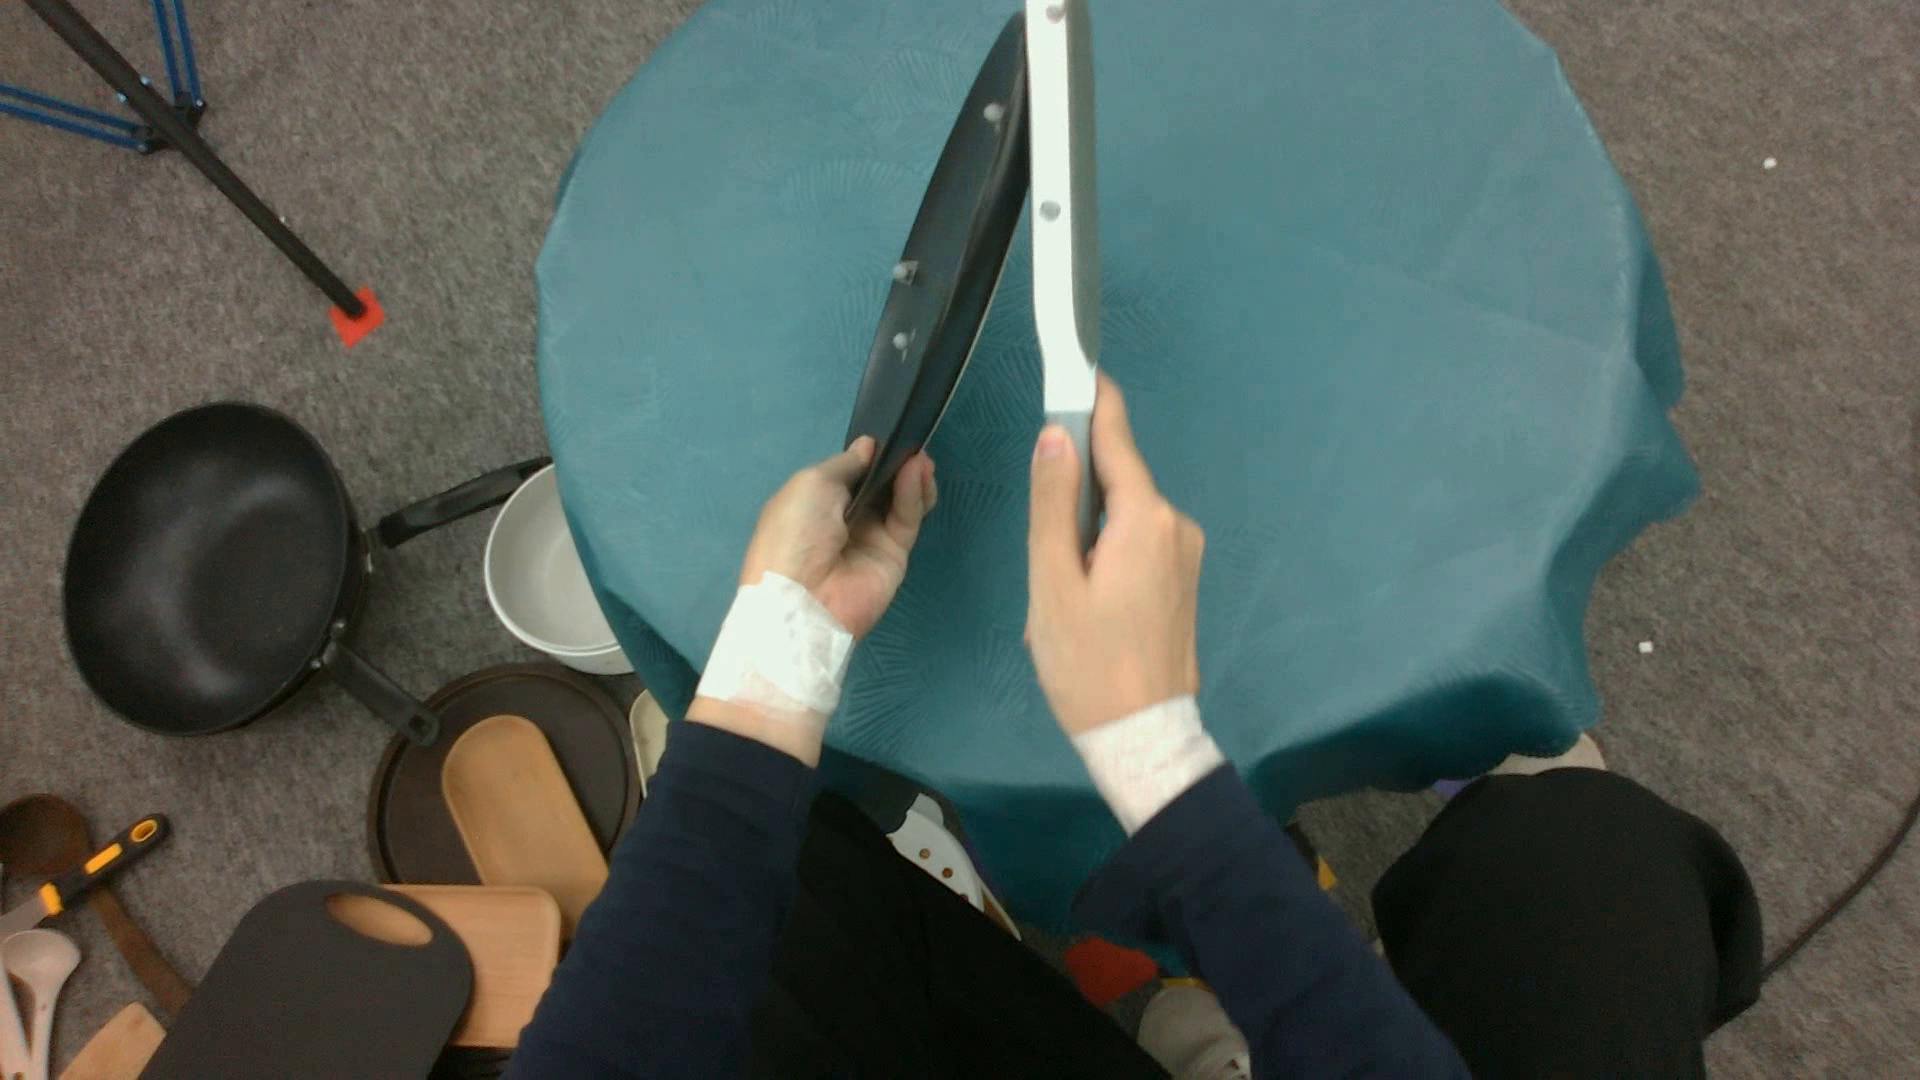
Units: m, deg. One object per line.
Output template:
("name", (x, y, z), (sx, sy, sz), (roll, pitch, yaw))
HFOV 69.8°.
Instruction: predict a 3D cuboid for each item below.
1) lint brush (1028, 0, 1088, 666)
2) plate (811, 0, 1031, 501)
("lint brush", (0.040, -0.104, 0.553), (0.021, 0.060, 0.309), (-1, 82, 11))
("plate", (-0.016, -0.129, 0.632), (0.023, 0.243, 0.245), (20, 69, -12))
